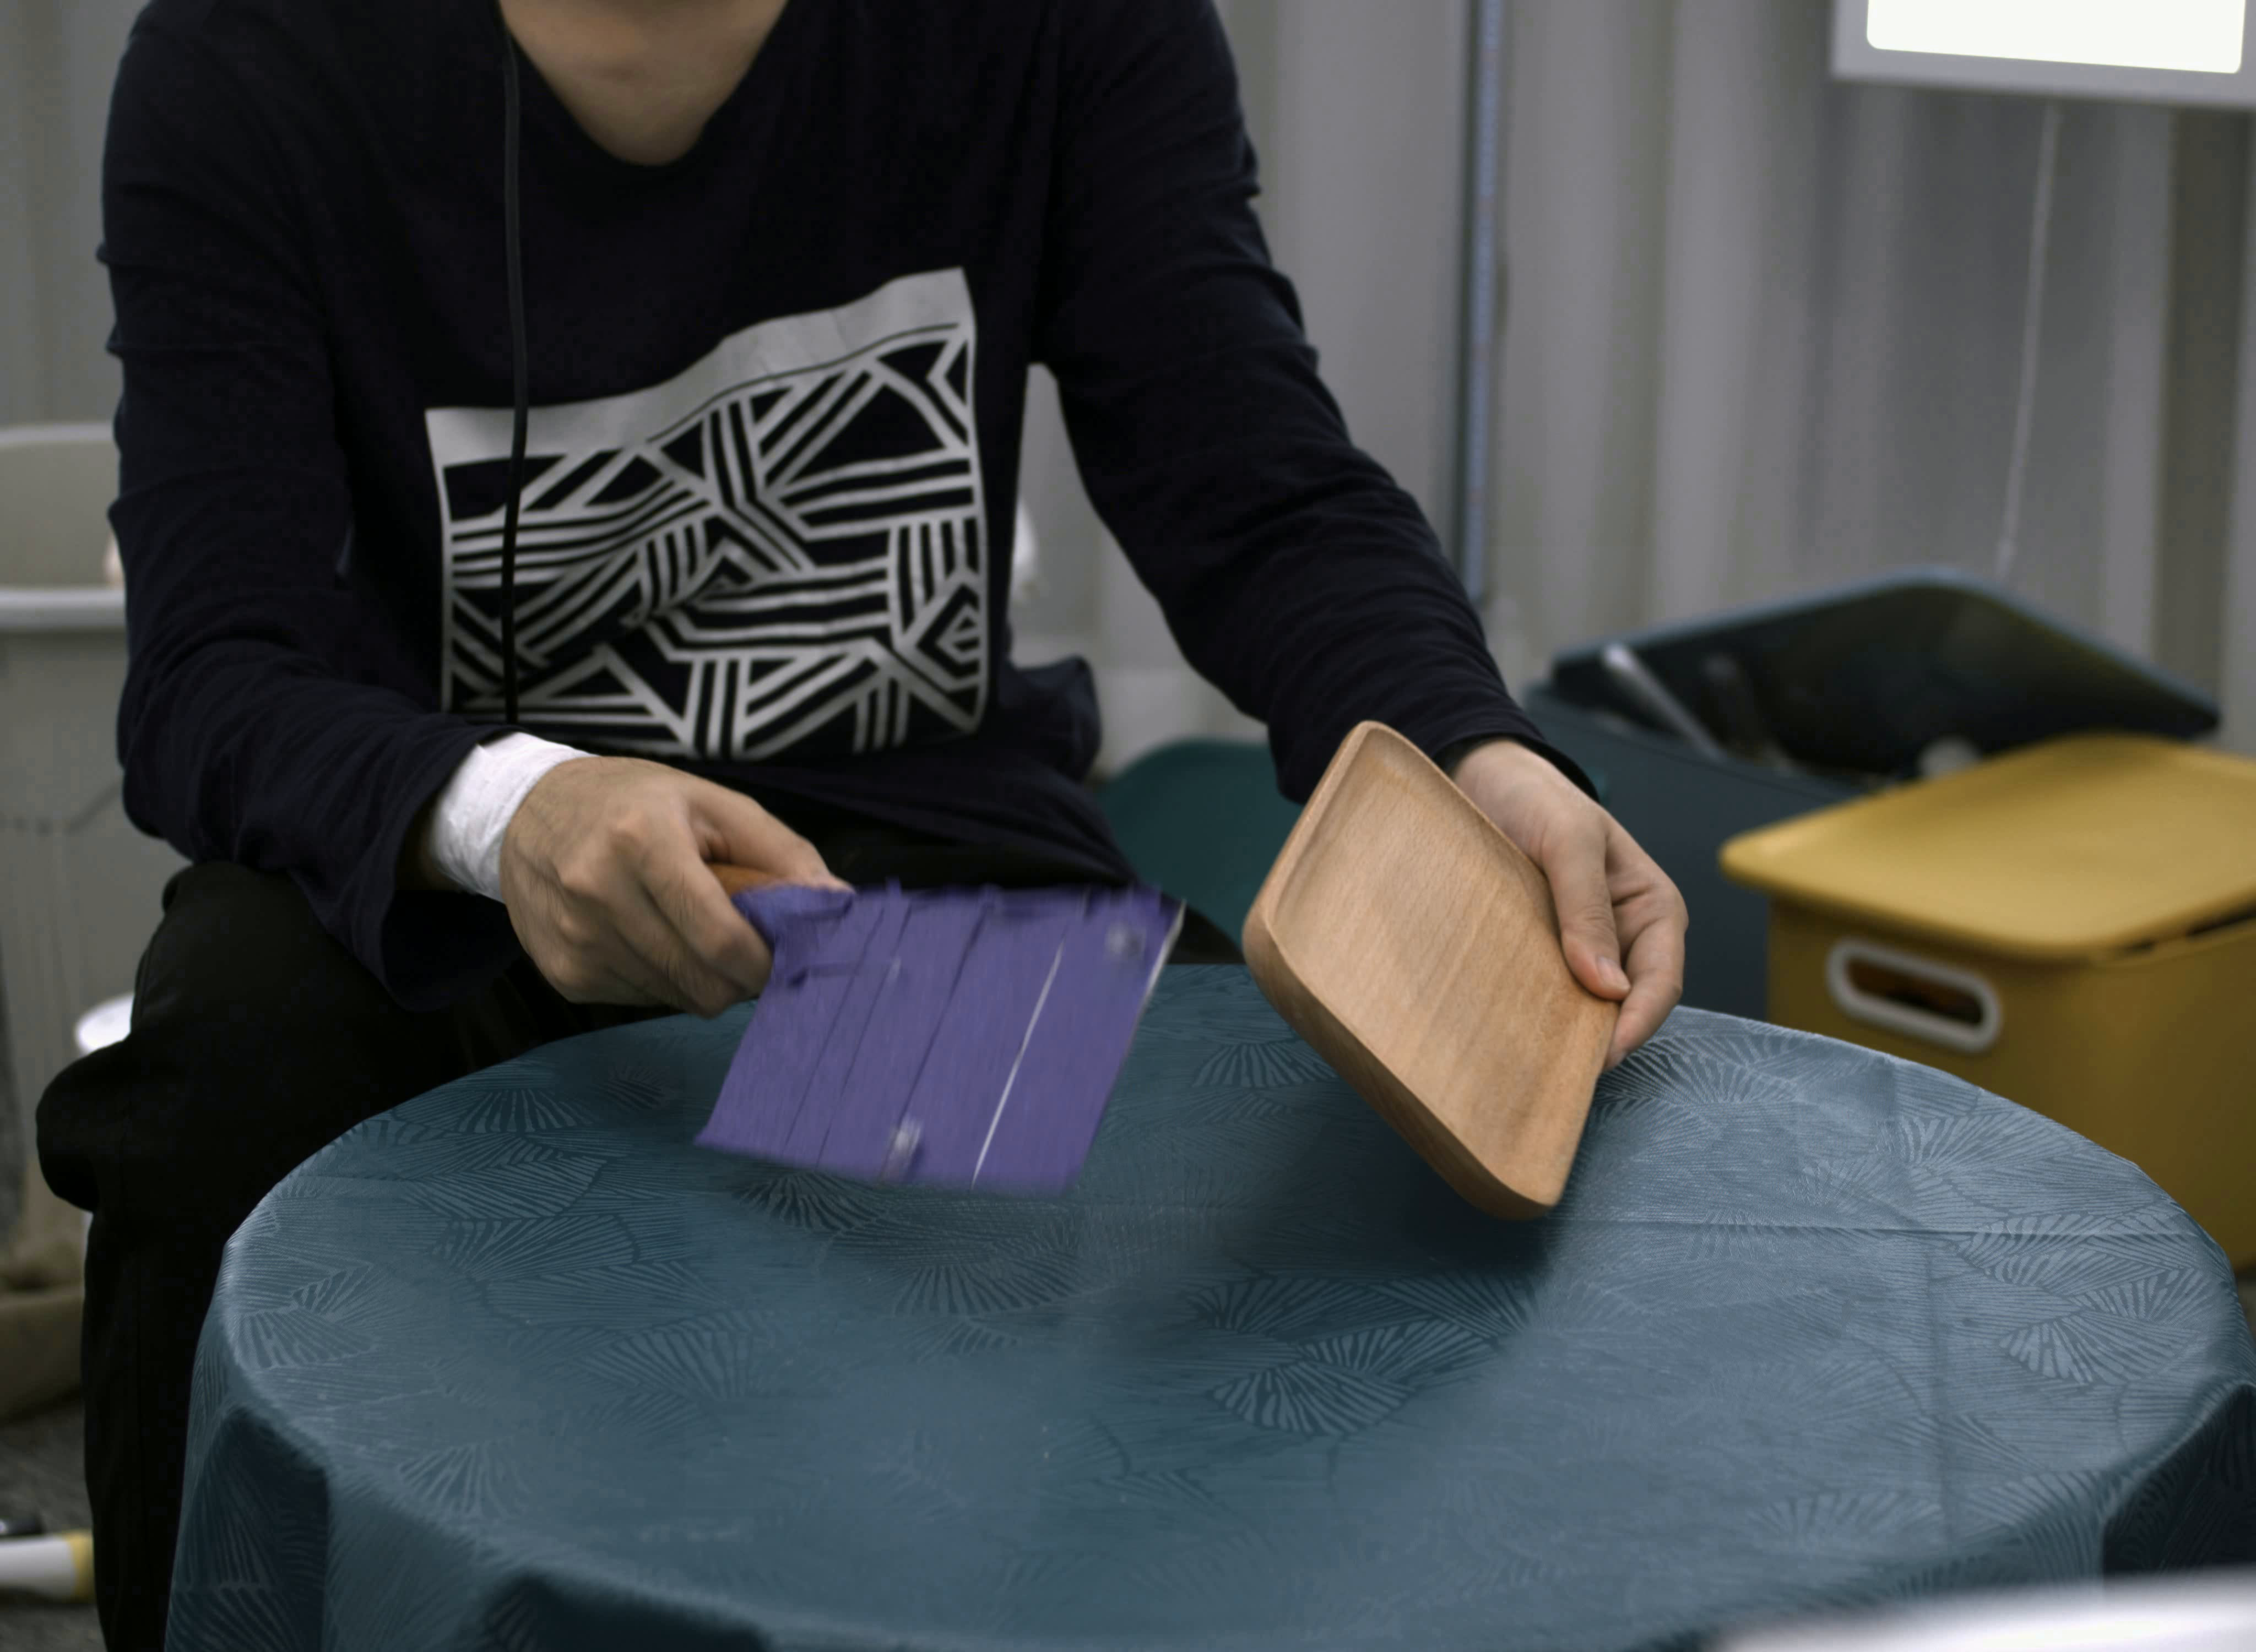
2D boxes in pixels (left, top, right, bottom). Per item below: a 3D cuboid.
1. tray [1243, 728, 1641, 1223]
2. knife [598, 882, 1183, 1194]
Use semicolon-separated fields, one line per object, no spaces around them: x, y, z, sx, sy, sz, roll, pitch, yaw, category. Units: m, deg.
0.100;0.044;1.649;0.023;0.131;0.250;-40;4;19;tray
-0.090;0.062;1.588;0.032;0.104;0.312;32;-16;-29;knife
